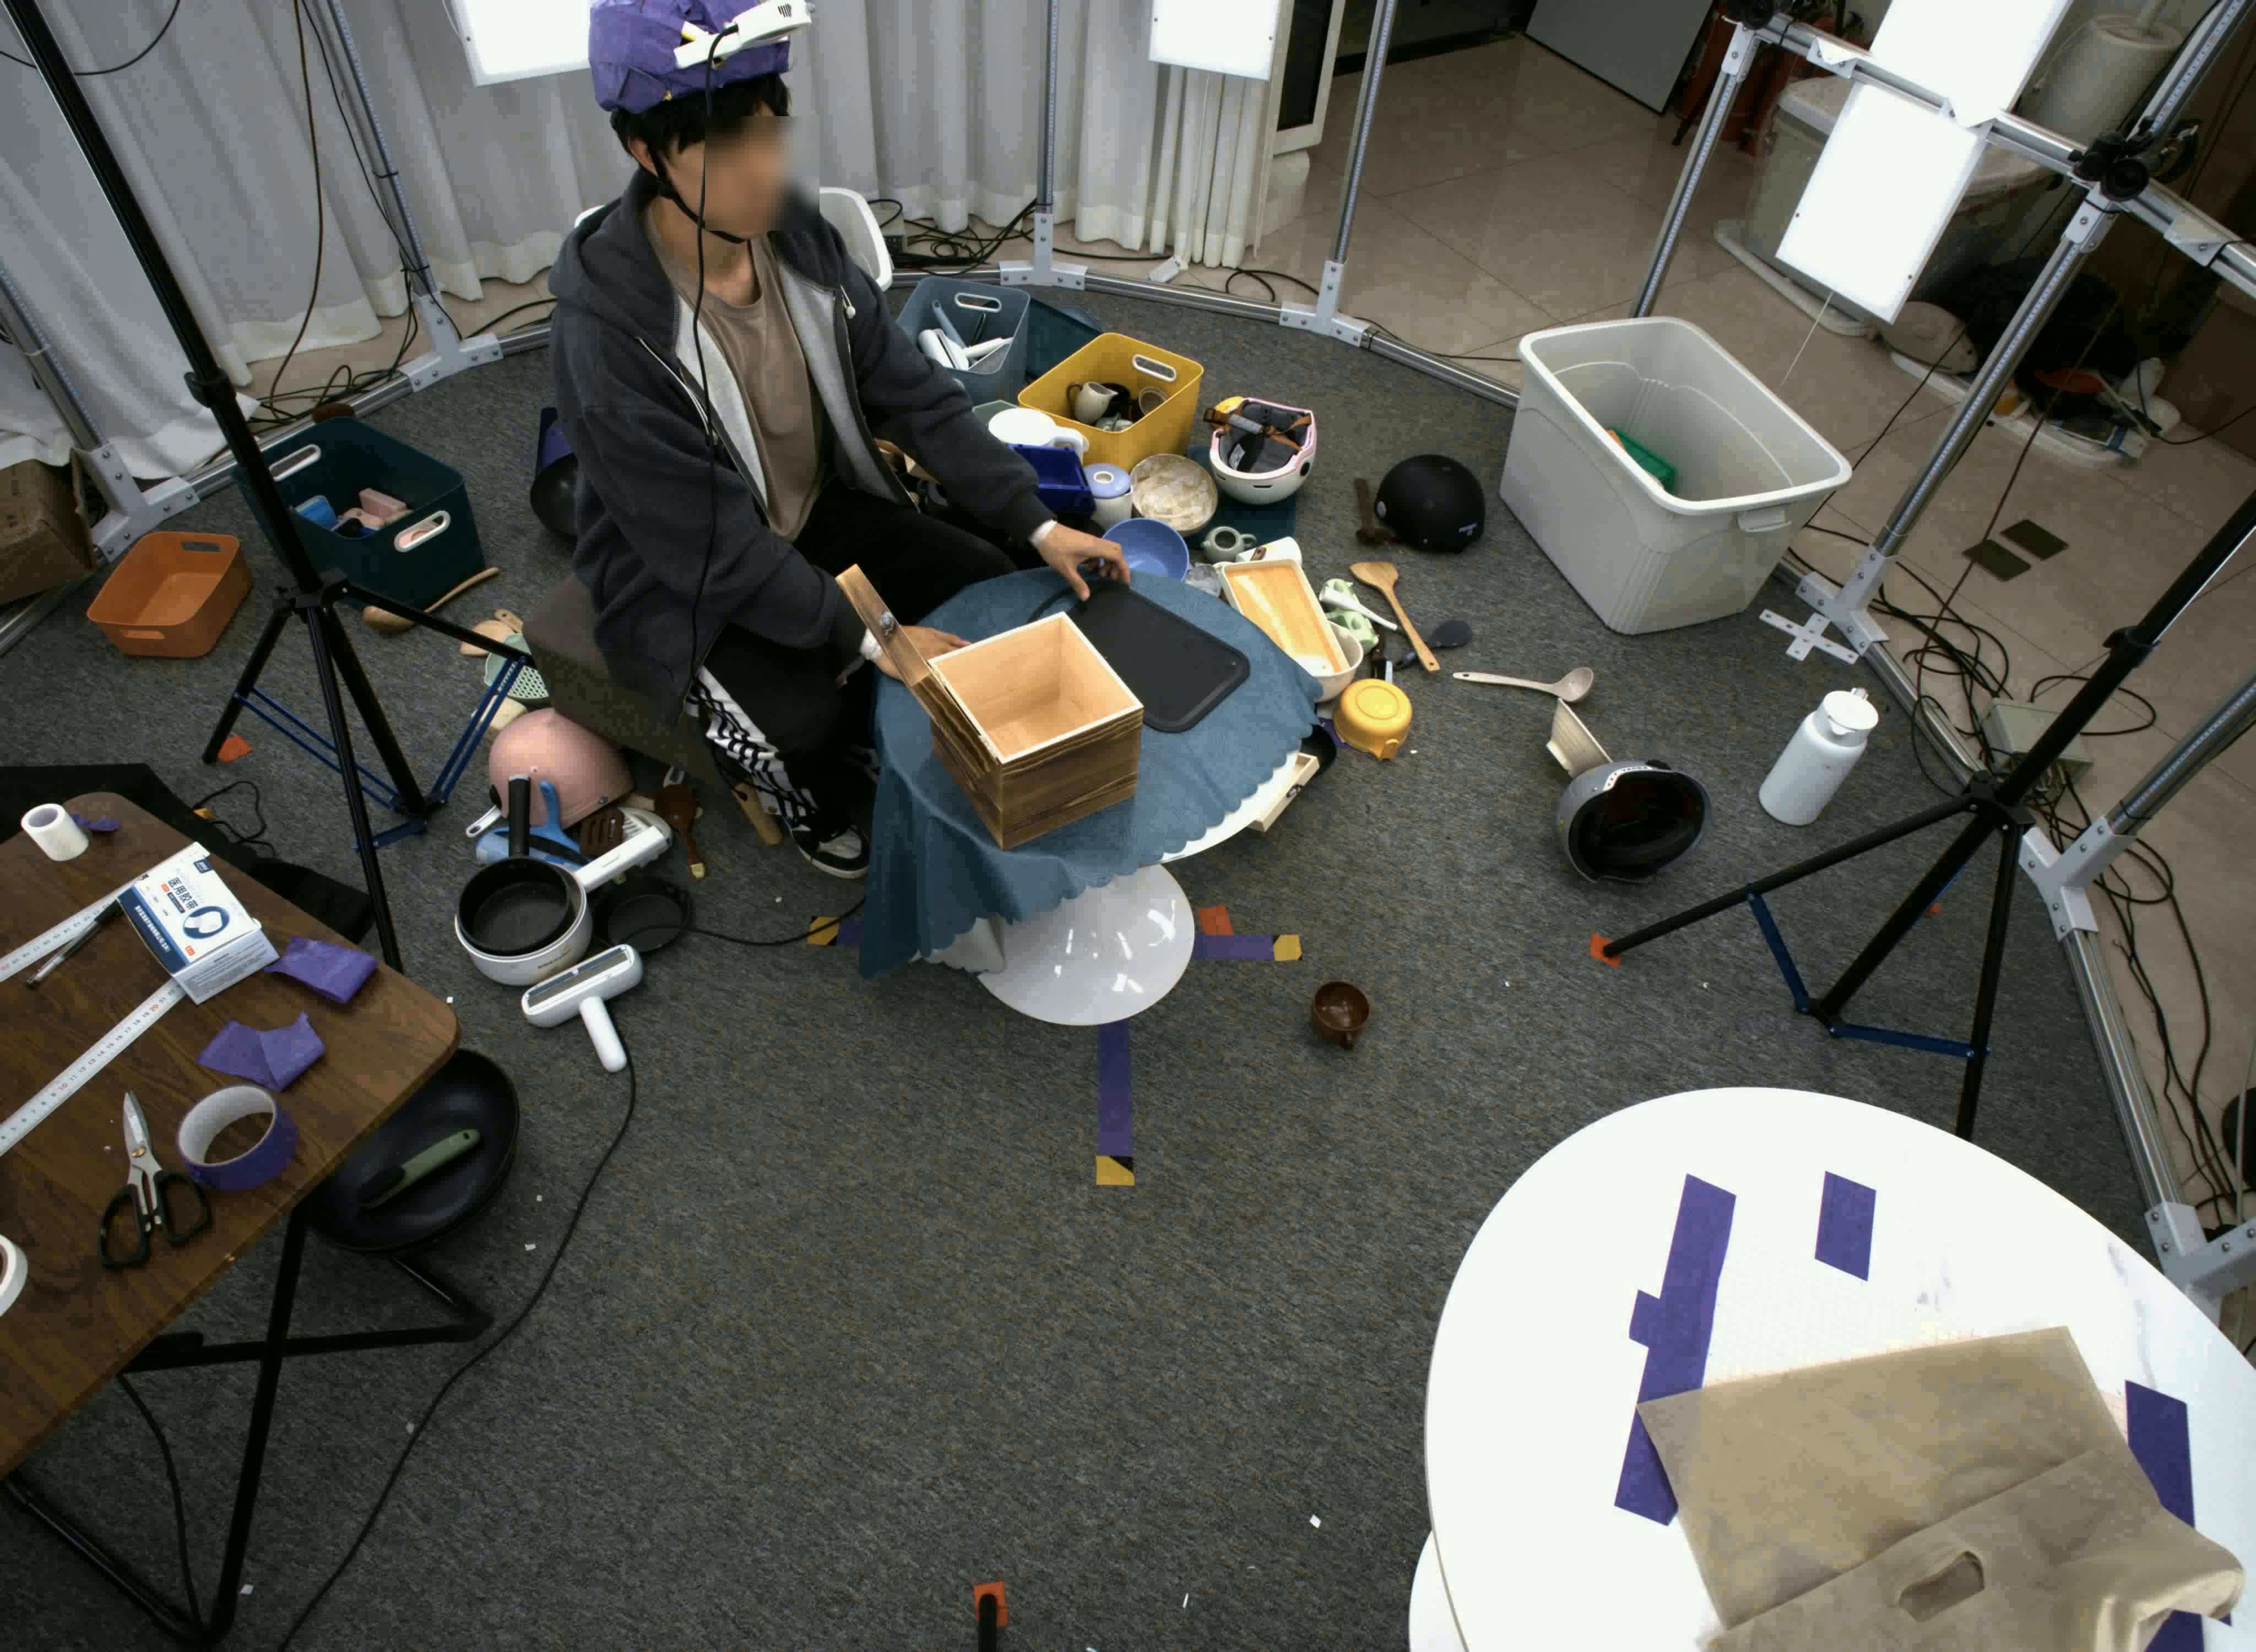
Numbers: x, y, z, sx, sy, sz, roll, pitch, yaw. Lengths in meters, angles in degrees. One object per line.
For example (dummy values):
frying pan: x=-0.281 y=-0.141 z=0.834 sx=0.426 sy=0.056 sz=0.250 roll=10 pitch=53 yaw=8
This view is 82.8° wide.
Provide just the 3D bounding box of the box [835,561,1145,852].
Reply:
box: x=-0.160 y=-0.163 z=1.566 sx=0.323 sy=0.366 sz=0.213 roll=-24 pitch=56 yaw=-22

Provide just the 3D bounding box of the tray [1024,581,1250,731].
tray: x=0.005 y=-0.260 z=1.888 sx=0.329 sy=0.009 sz=0.213 roll=33 pitch=54 yaw=22
